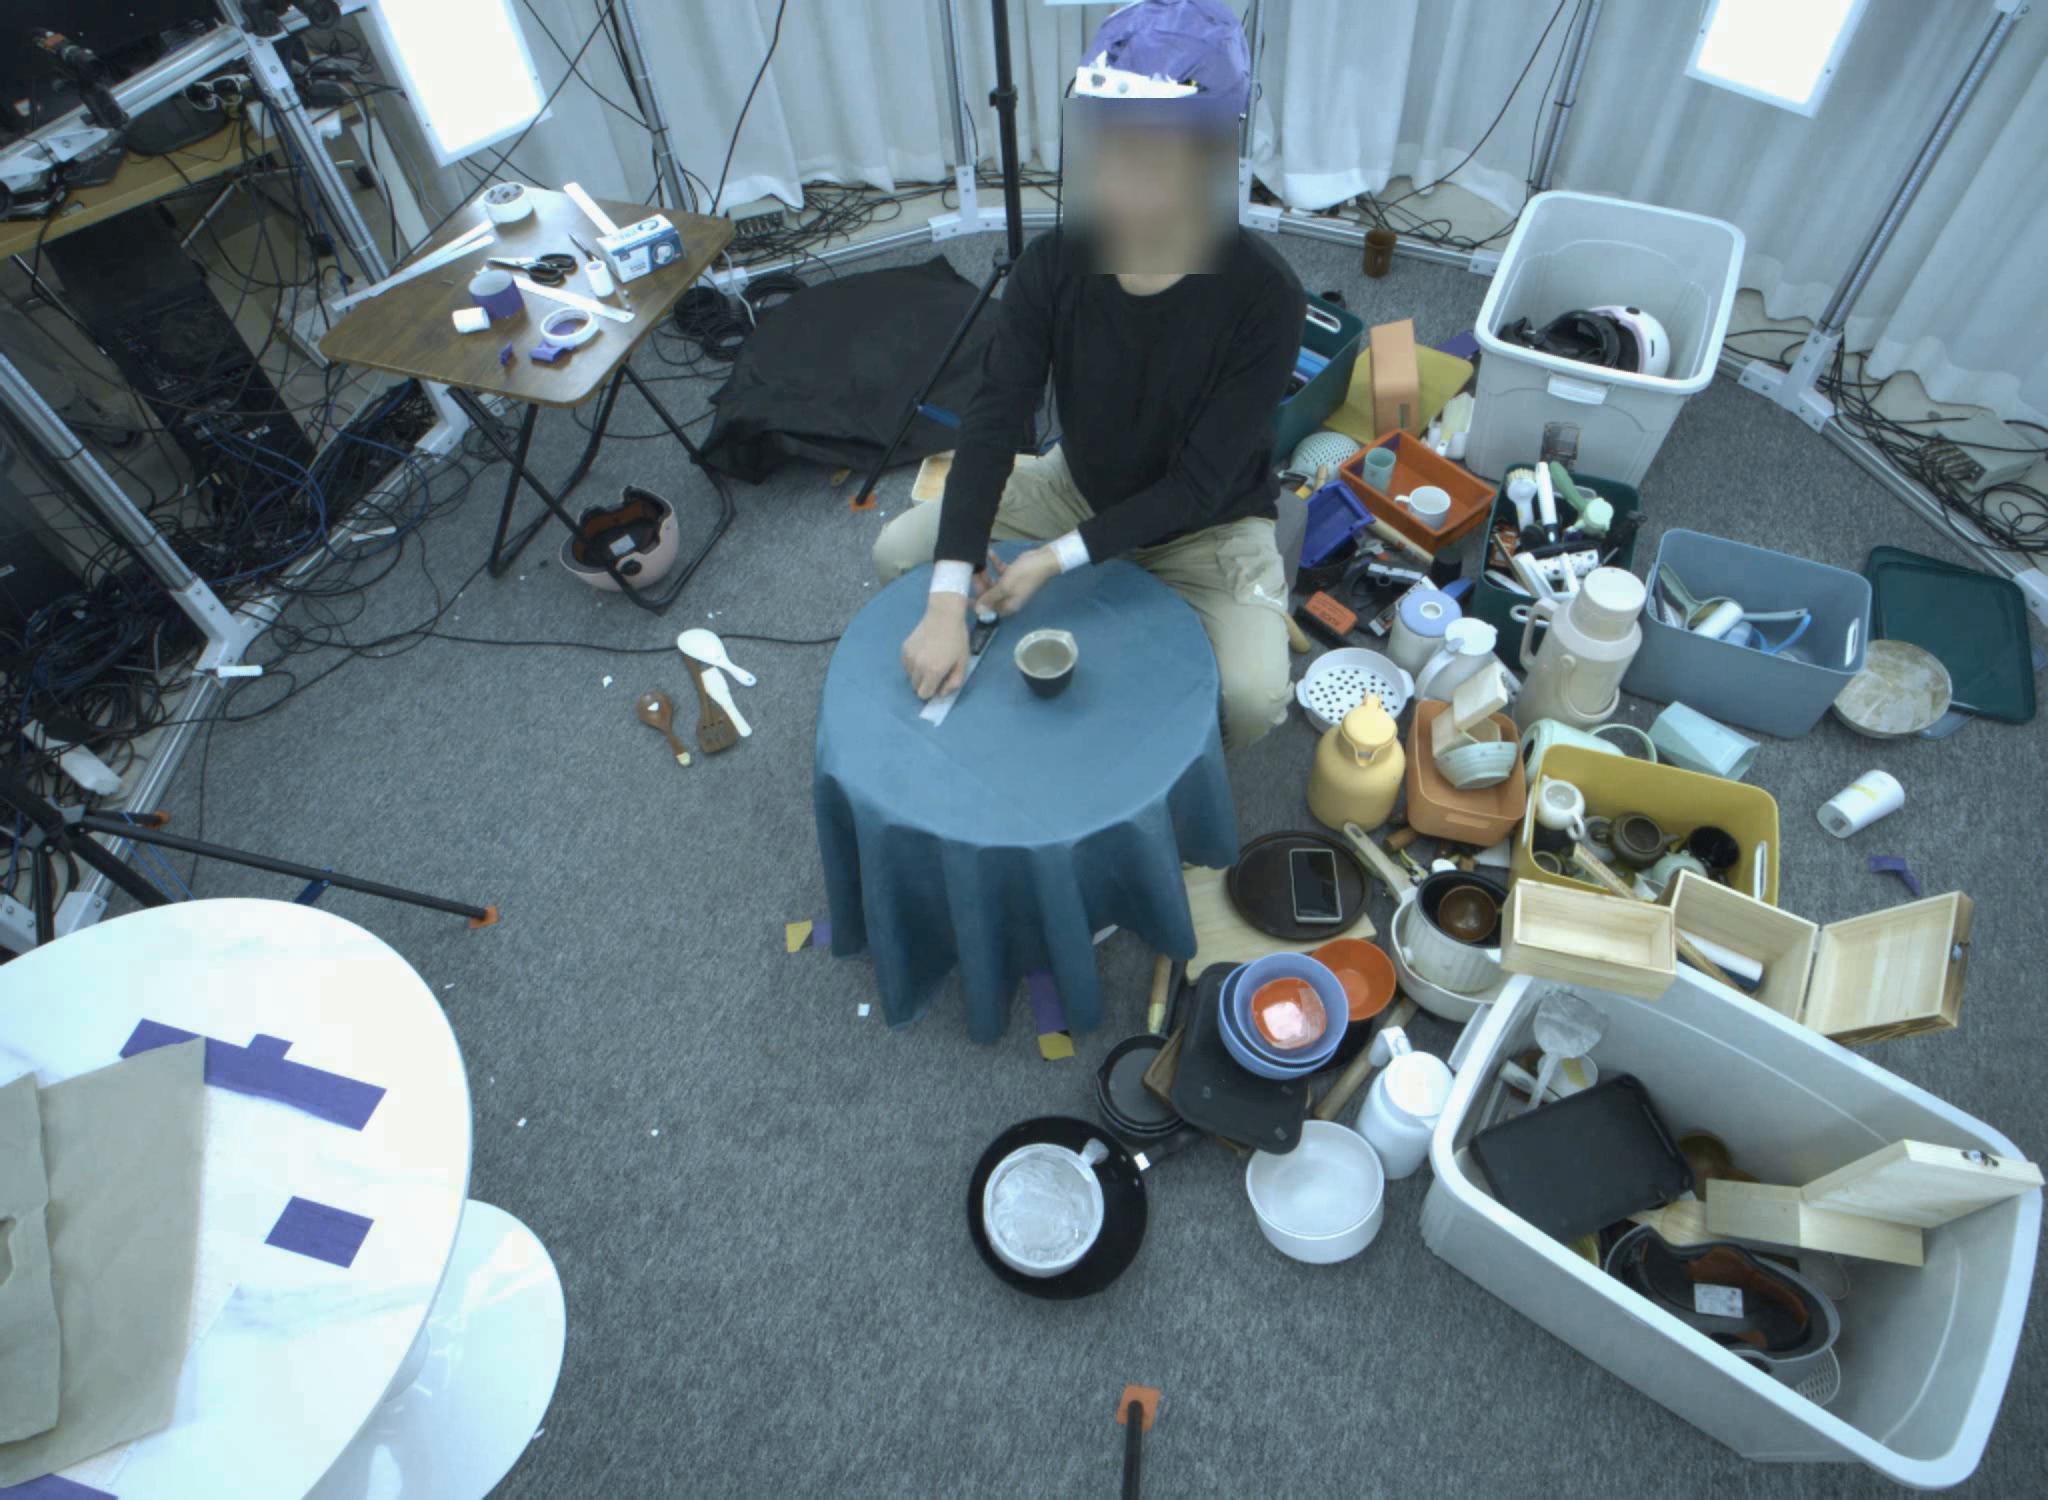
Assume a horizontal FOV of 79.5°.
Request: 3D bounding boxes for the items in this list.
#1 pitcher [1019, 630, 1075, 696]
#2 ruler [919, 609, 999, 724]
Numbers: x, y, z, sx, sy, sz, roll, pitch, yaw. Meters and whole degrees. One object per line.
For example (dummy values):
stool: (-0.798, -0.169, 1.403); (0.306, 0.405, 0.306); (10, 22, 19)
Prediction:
pitcher: (0.039, -0.125, 1.830); (0.082, 0.072, 0.096); (33, 63, 24)
ruler: (-0.097, -0.131, 1.864); (0.038, 0.024, 0.218); (18, 59, 19)
